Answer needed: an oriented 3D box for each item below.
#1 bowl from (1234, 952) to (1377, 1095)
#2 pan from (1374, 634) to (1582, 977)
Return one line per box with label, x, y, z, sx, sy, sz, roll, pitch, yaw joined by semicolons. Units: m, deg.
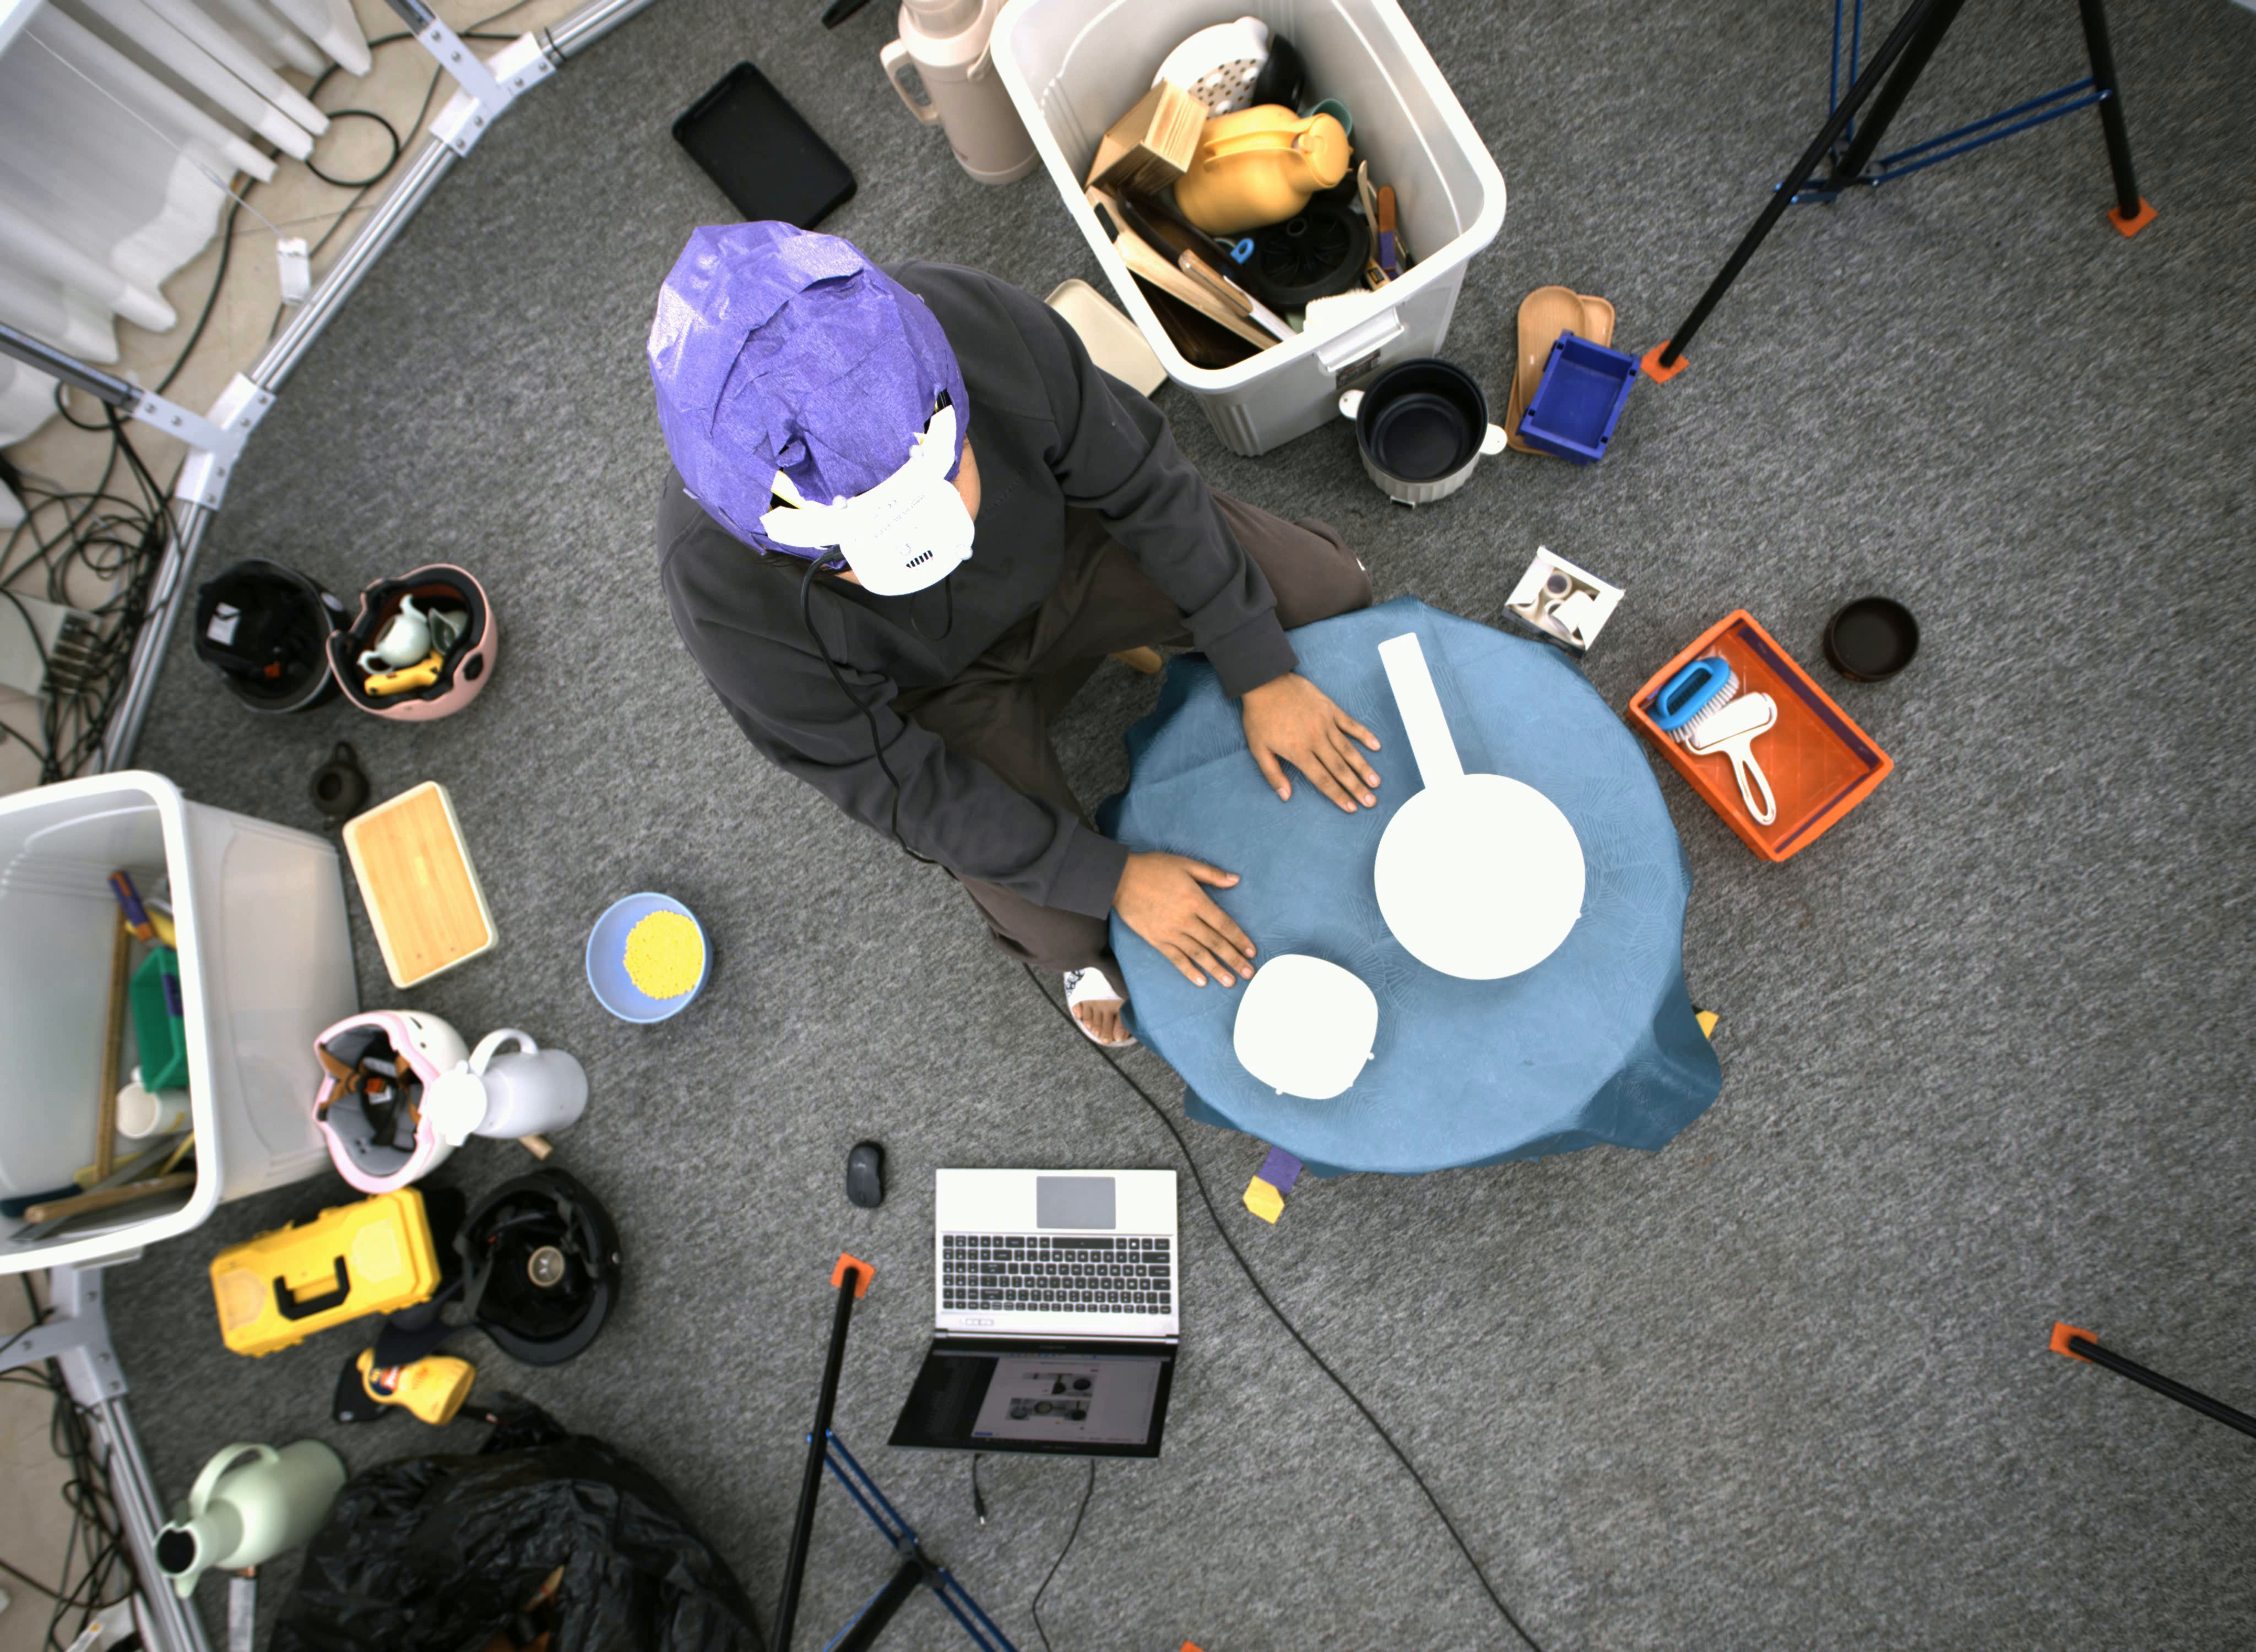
bowl;0.185;0.203;1.441;0.152;0.058;0.151;-1;87;10
pan;0.330;-0.020;1.409;0.202;0.102;0.352;-19;82;11
